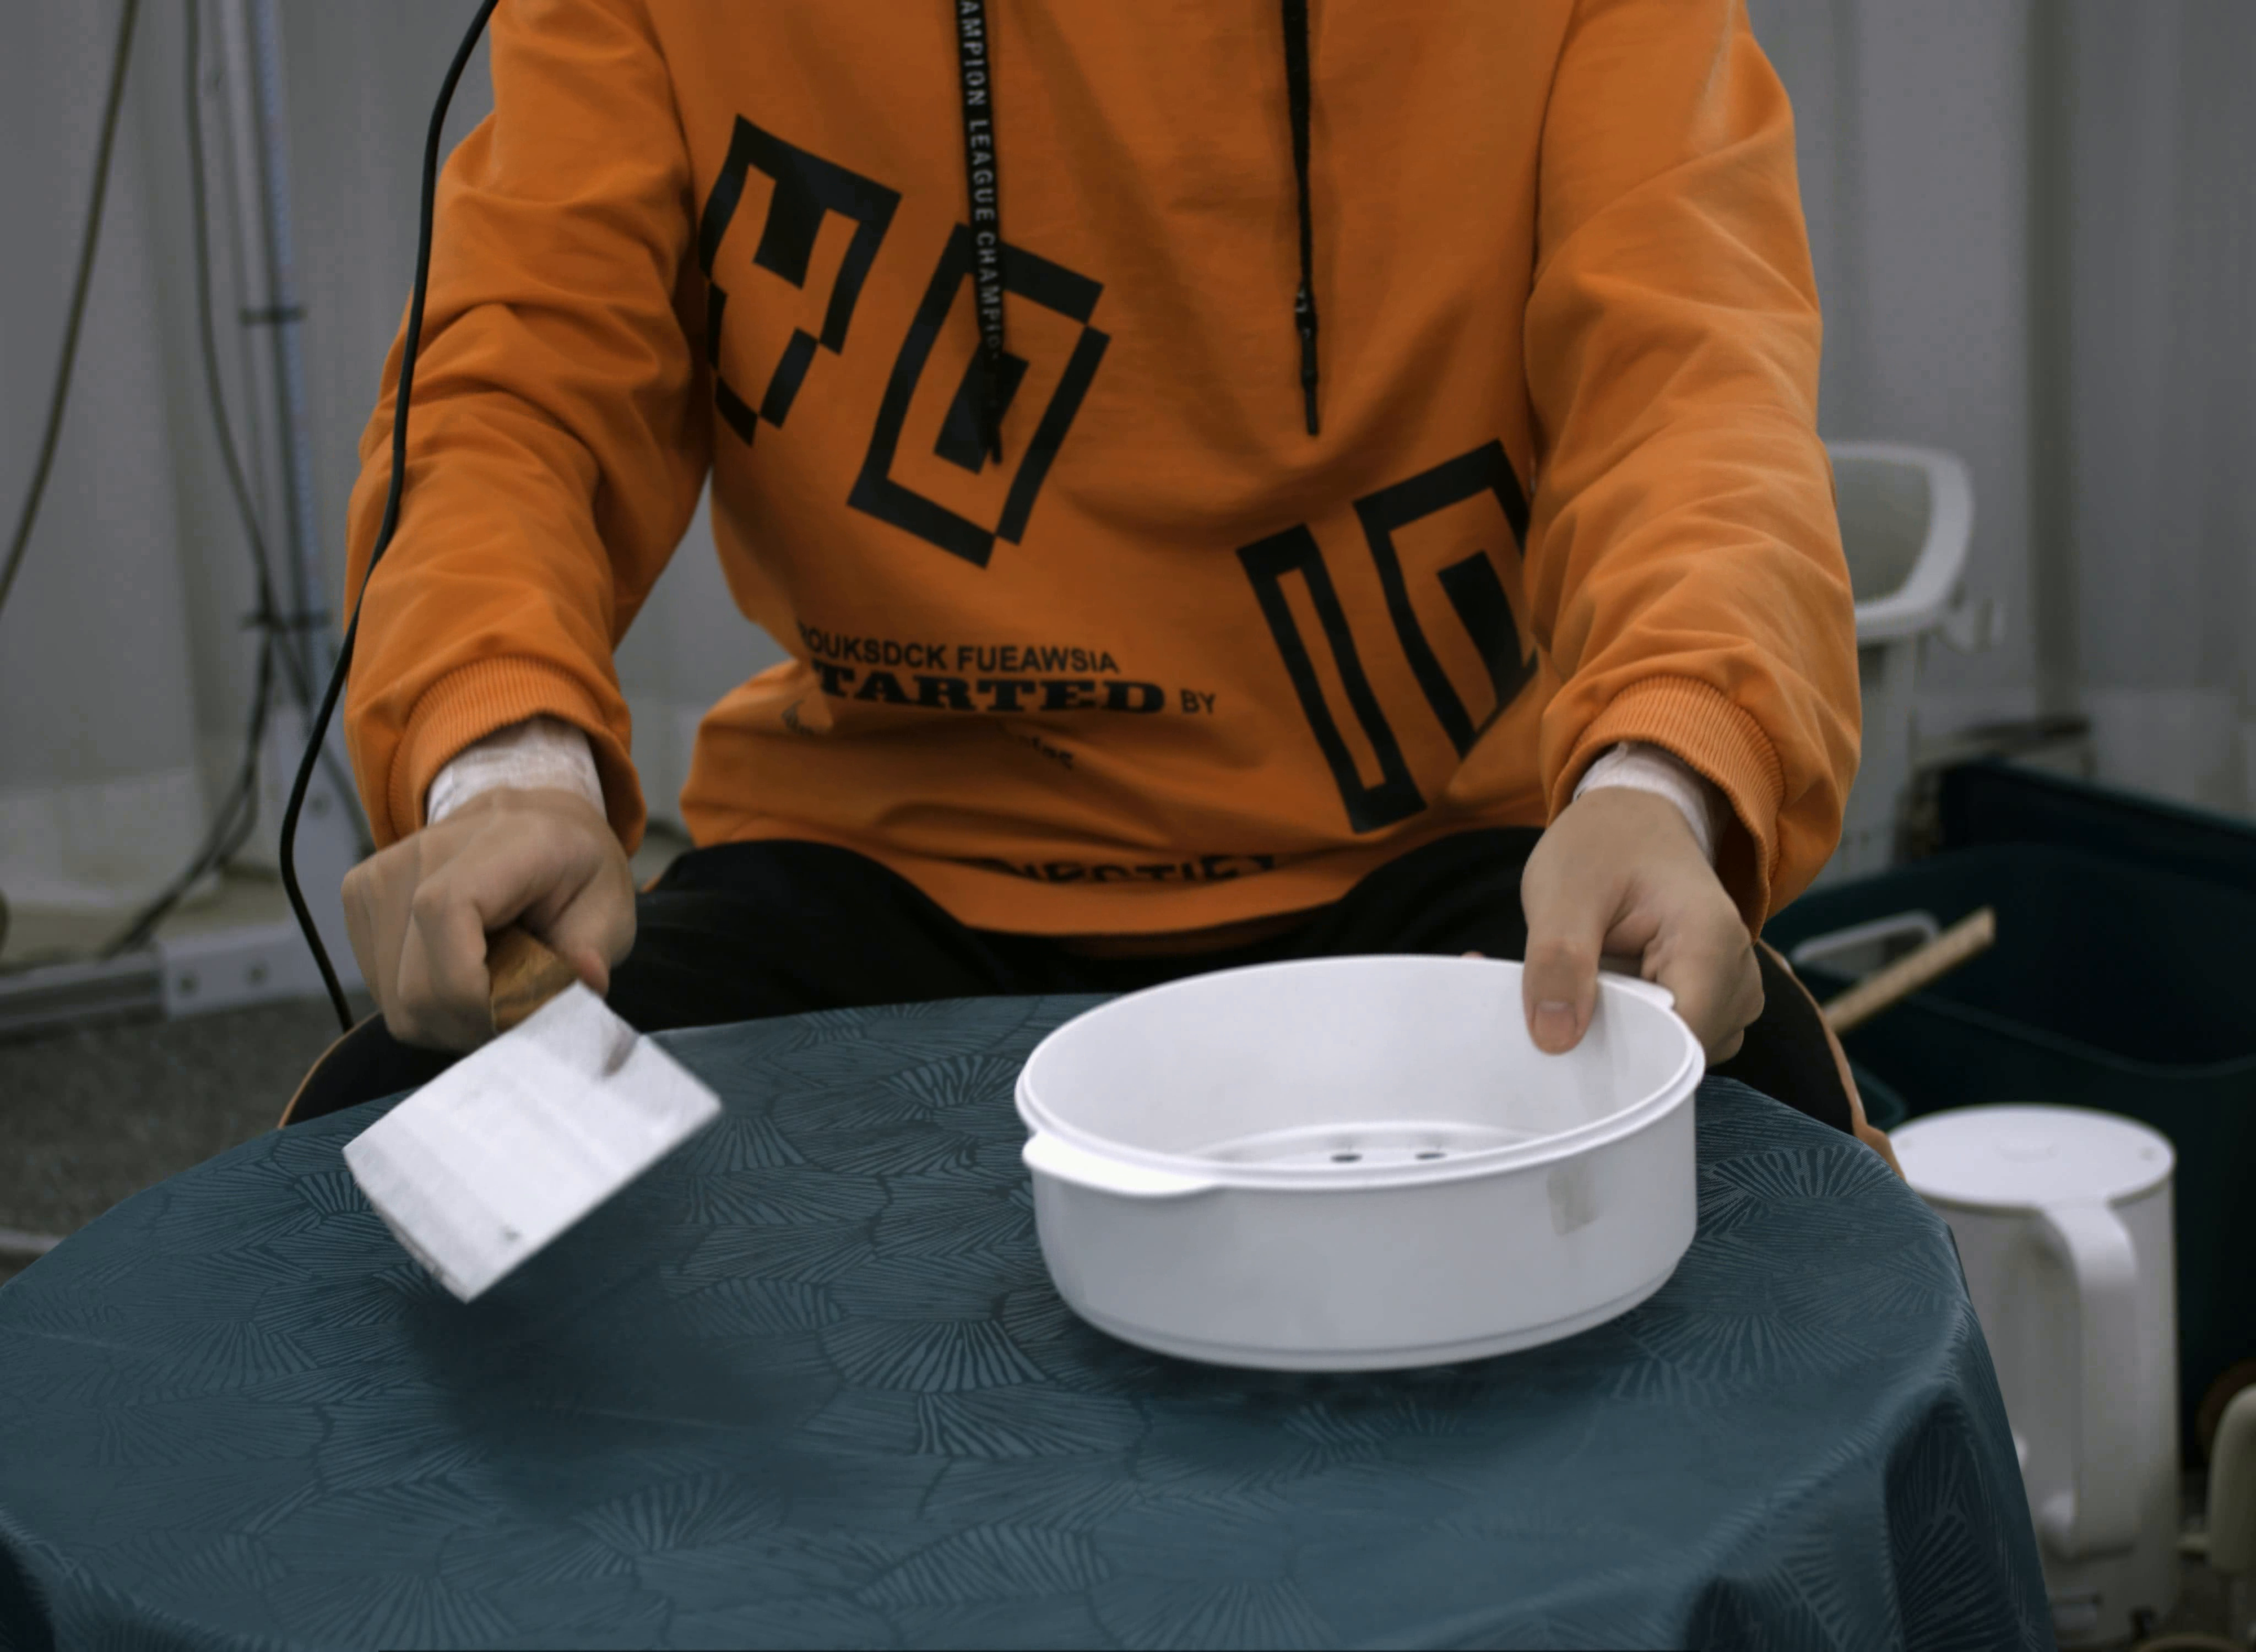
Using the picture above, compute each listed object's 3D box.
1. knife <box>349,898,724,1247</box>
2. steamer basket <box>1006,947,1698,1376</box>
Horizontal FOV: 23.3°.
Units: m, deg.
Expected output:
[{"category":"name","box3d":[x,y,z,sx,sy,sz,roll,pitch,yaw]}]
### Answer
[{"category":"knife","box3d":[-0.192,0.075,1.648,0.093,0.021,0.307,-39,18,-9]},{"category":"steamer basket","box3d":[0.066,0.098,1.593,0.230,0.069,0.203,-20,22,-41]}]
